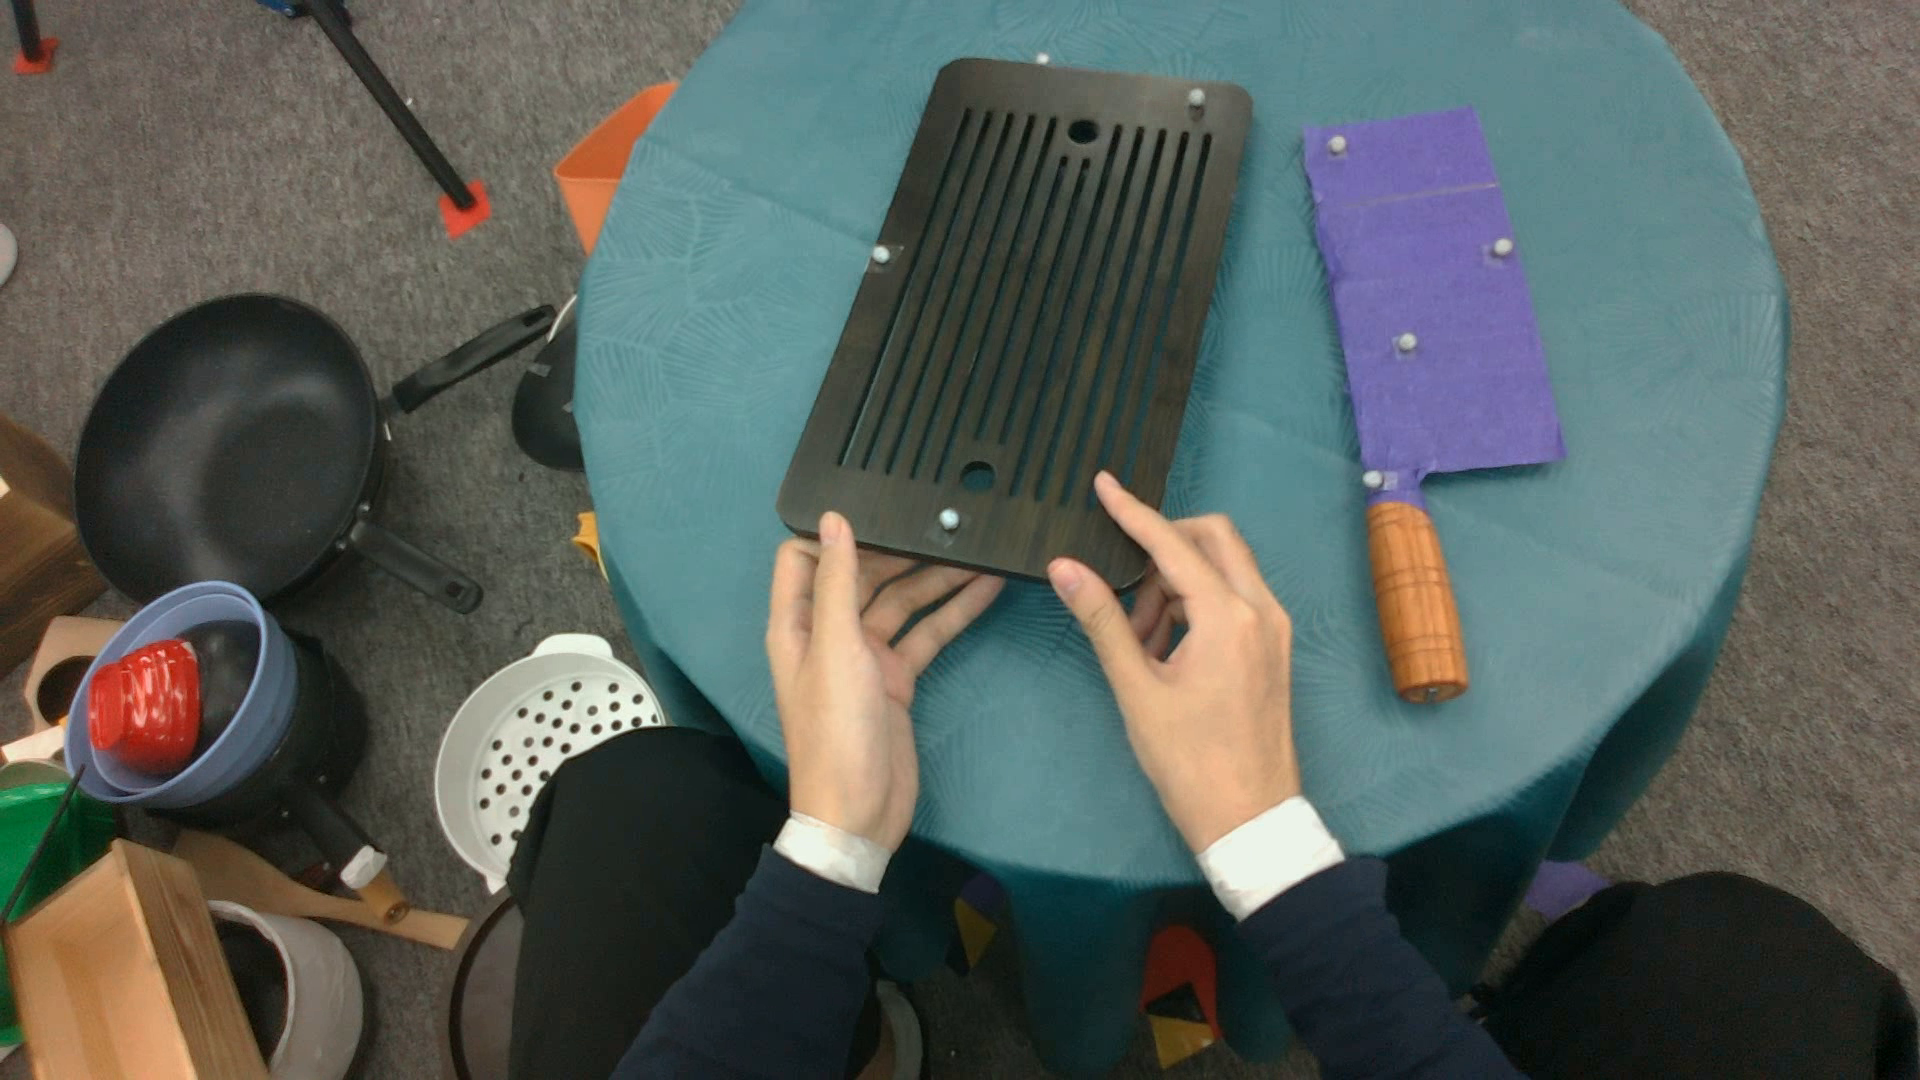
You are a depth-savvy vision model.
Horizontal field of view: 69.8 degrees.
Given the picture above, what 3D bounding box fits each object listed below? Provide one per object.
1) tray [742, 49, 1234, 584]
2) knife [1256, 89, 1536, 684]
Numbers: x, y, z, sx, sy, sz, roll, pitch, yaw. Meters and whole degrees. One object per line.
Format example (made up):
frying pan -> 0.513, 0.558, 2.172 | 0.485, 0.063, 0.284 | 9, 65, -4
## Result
tray -> 0.023, -0.122, 0.668 | 0.170, 0.018, 0.307 | 12, 61, 12
knife -> 0.216, -0.089, 0.650 | 0.104, 0.032, 0.316 | -7, 67, 4
